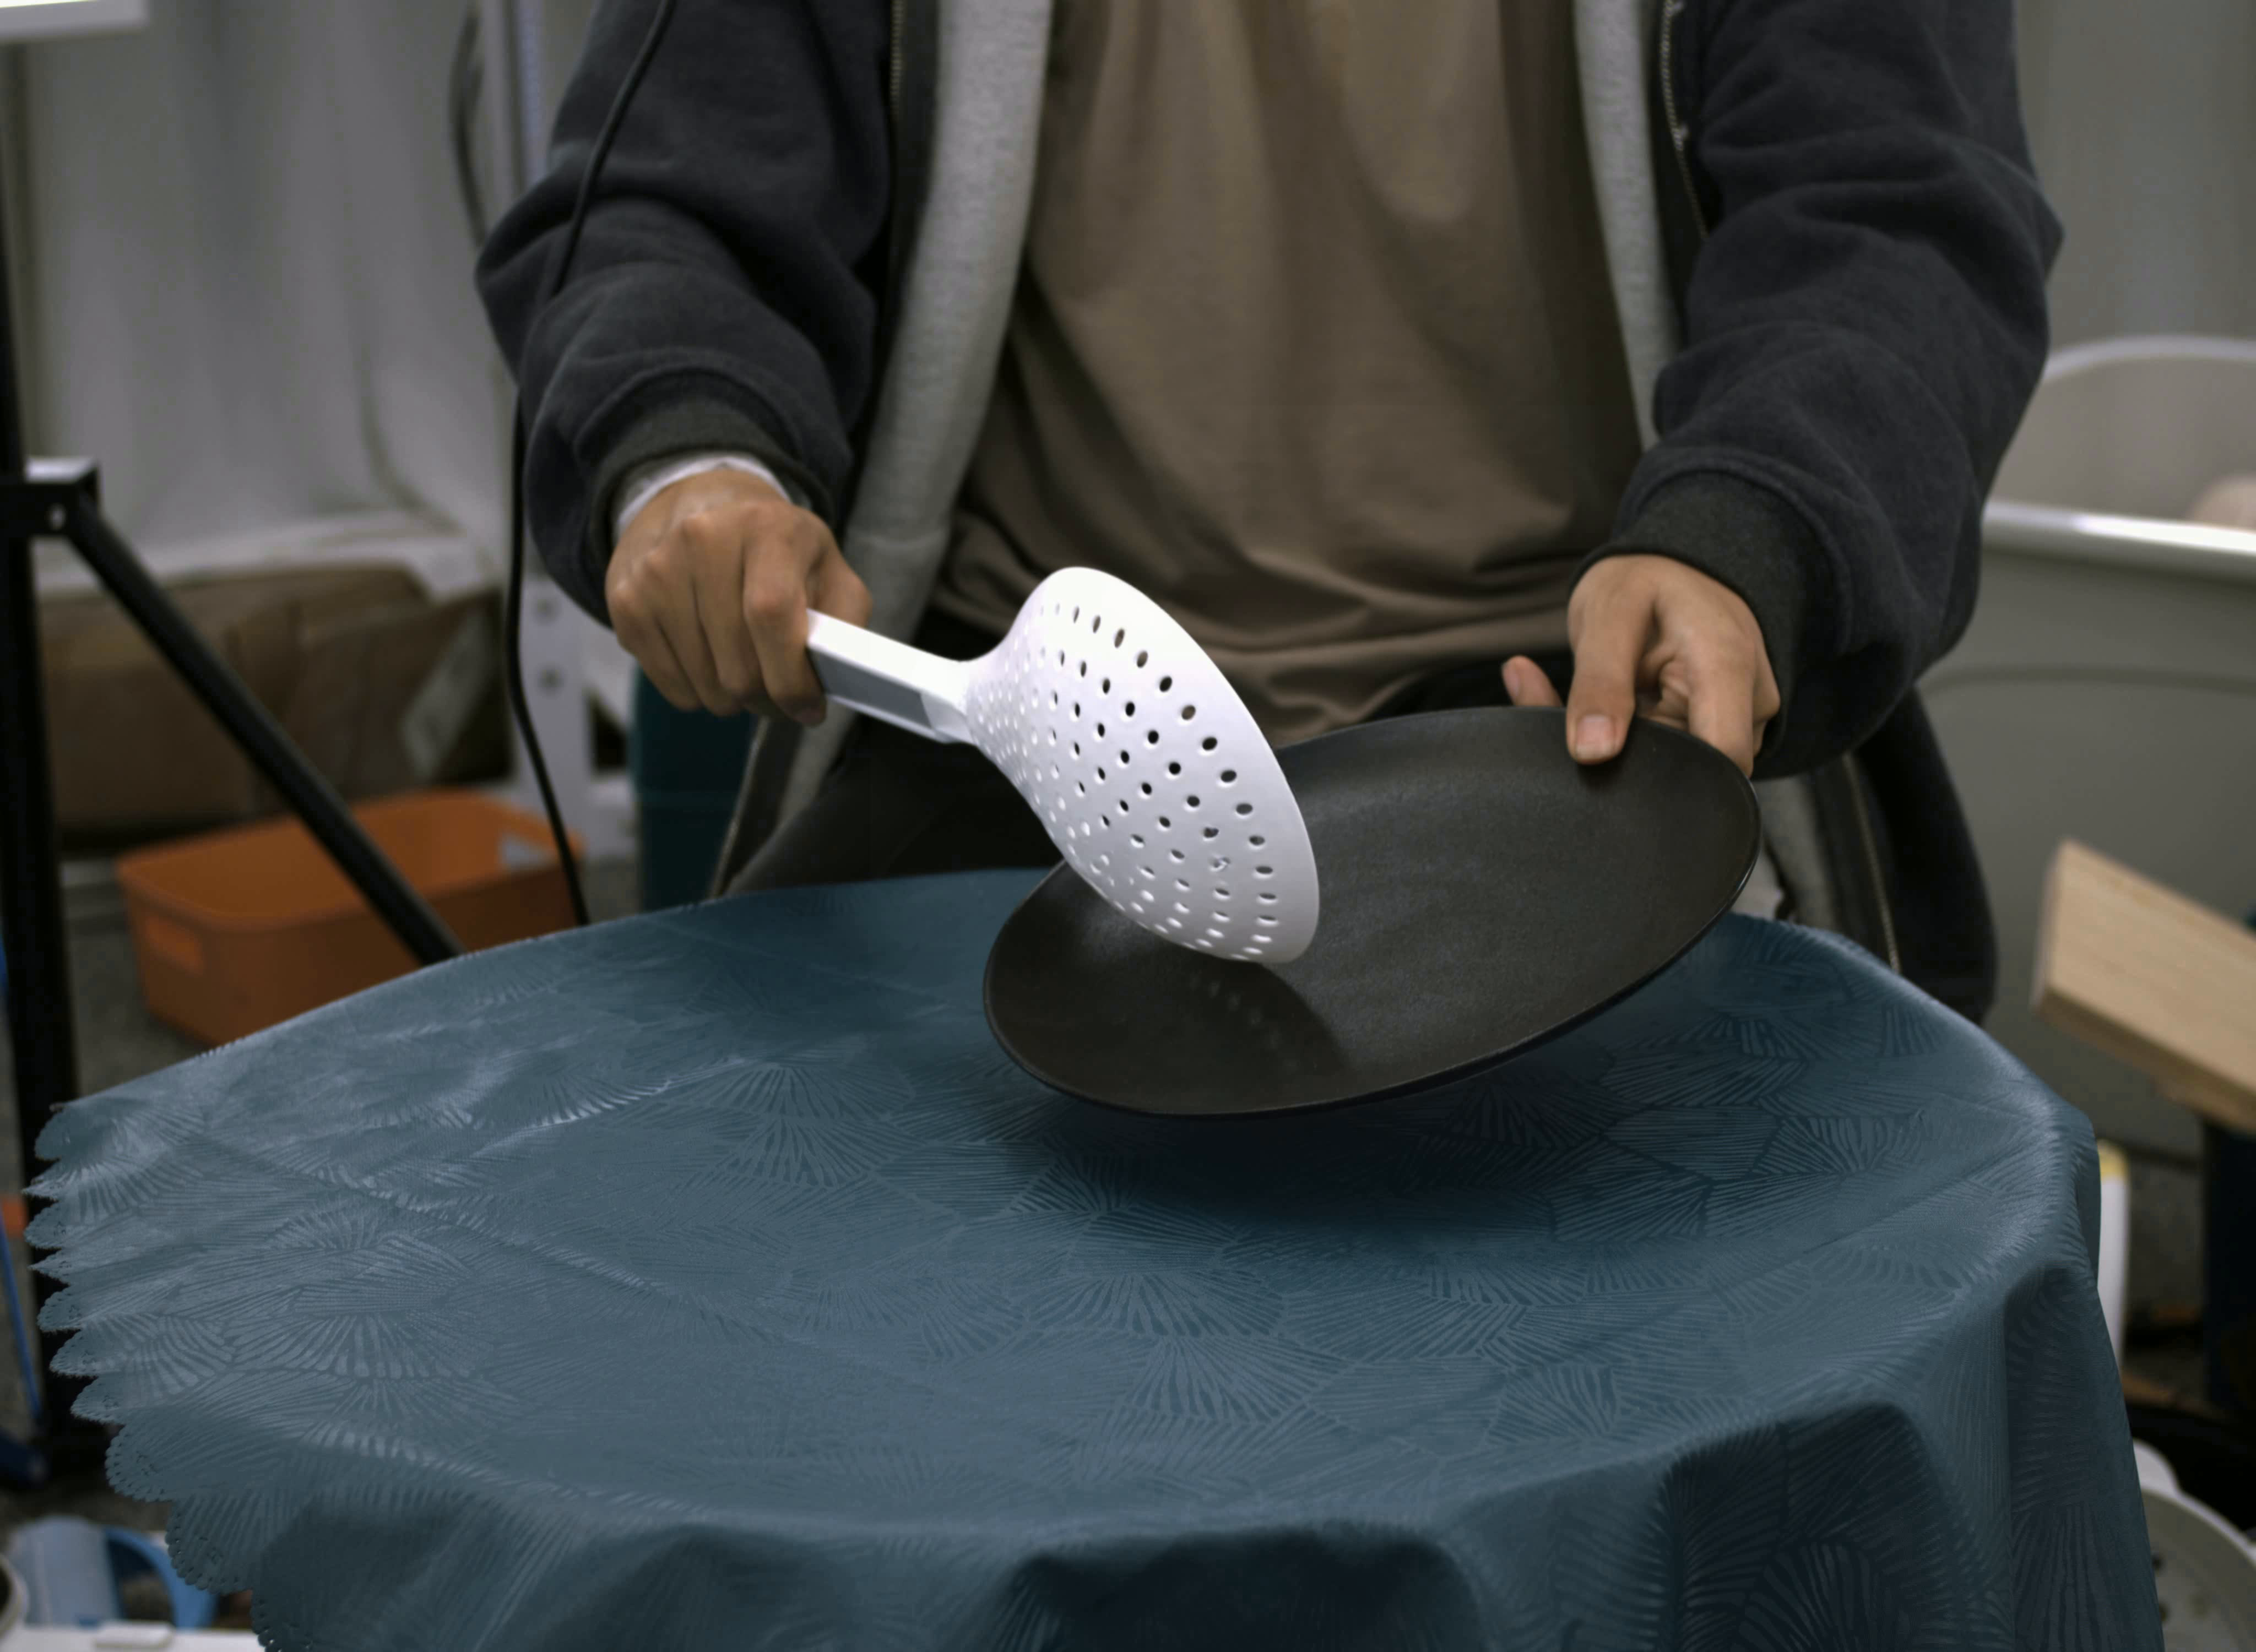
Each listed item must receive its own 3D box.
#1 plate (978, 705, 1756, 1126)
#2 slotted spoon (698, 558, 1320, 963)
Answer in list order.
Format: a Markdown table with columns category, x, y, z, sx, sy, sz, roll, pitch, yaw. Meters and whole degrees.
| category | x | y | z | sx | sy | sz | roll | pitch | yaw |
| --- | --- | --- | --- | --- | --- | --- | --- | --- | --- |
| plate | 0.074 | 0.031 | 1.616 | 0.244 | 0.023 | 0.246 | -15 | 26 | 6 |
| slotted spoon | -0.048 | -0.038 | 1.687 | 0.045 | 0.135 | 0.357 | -27 | 25 | -19 |
